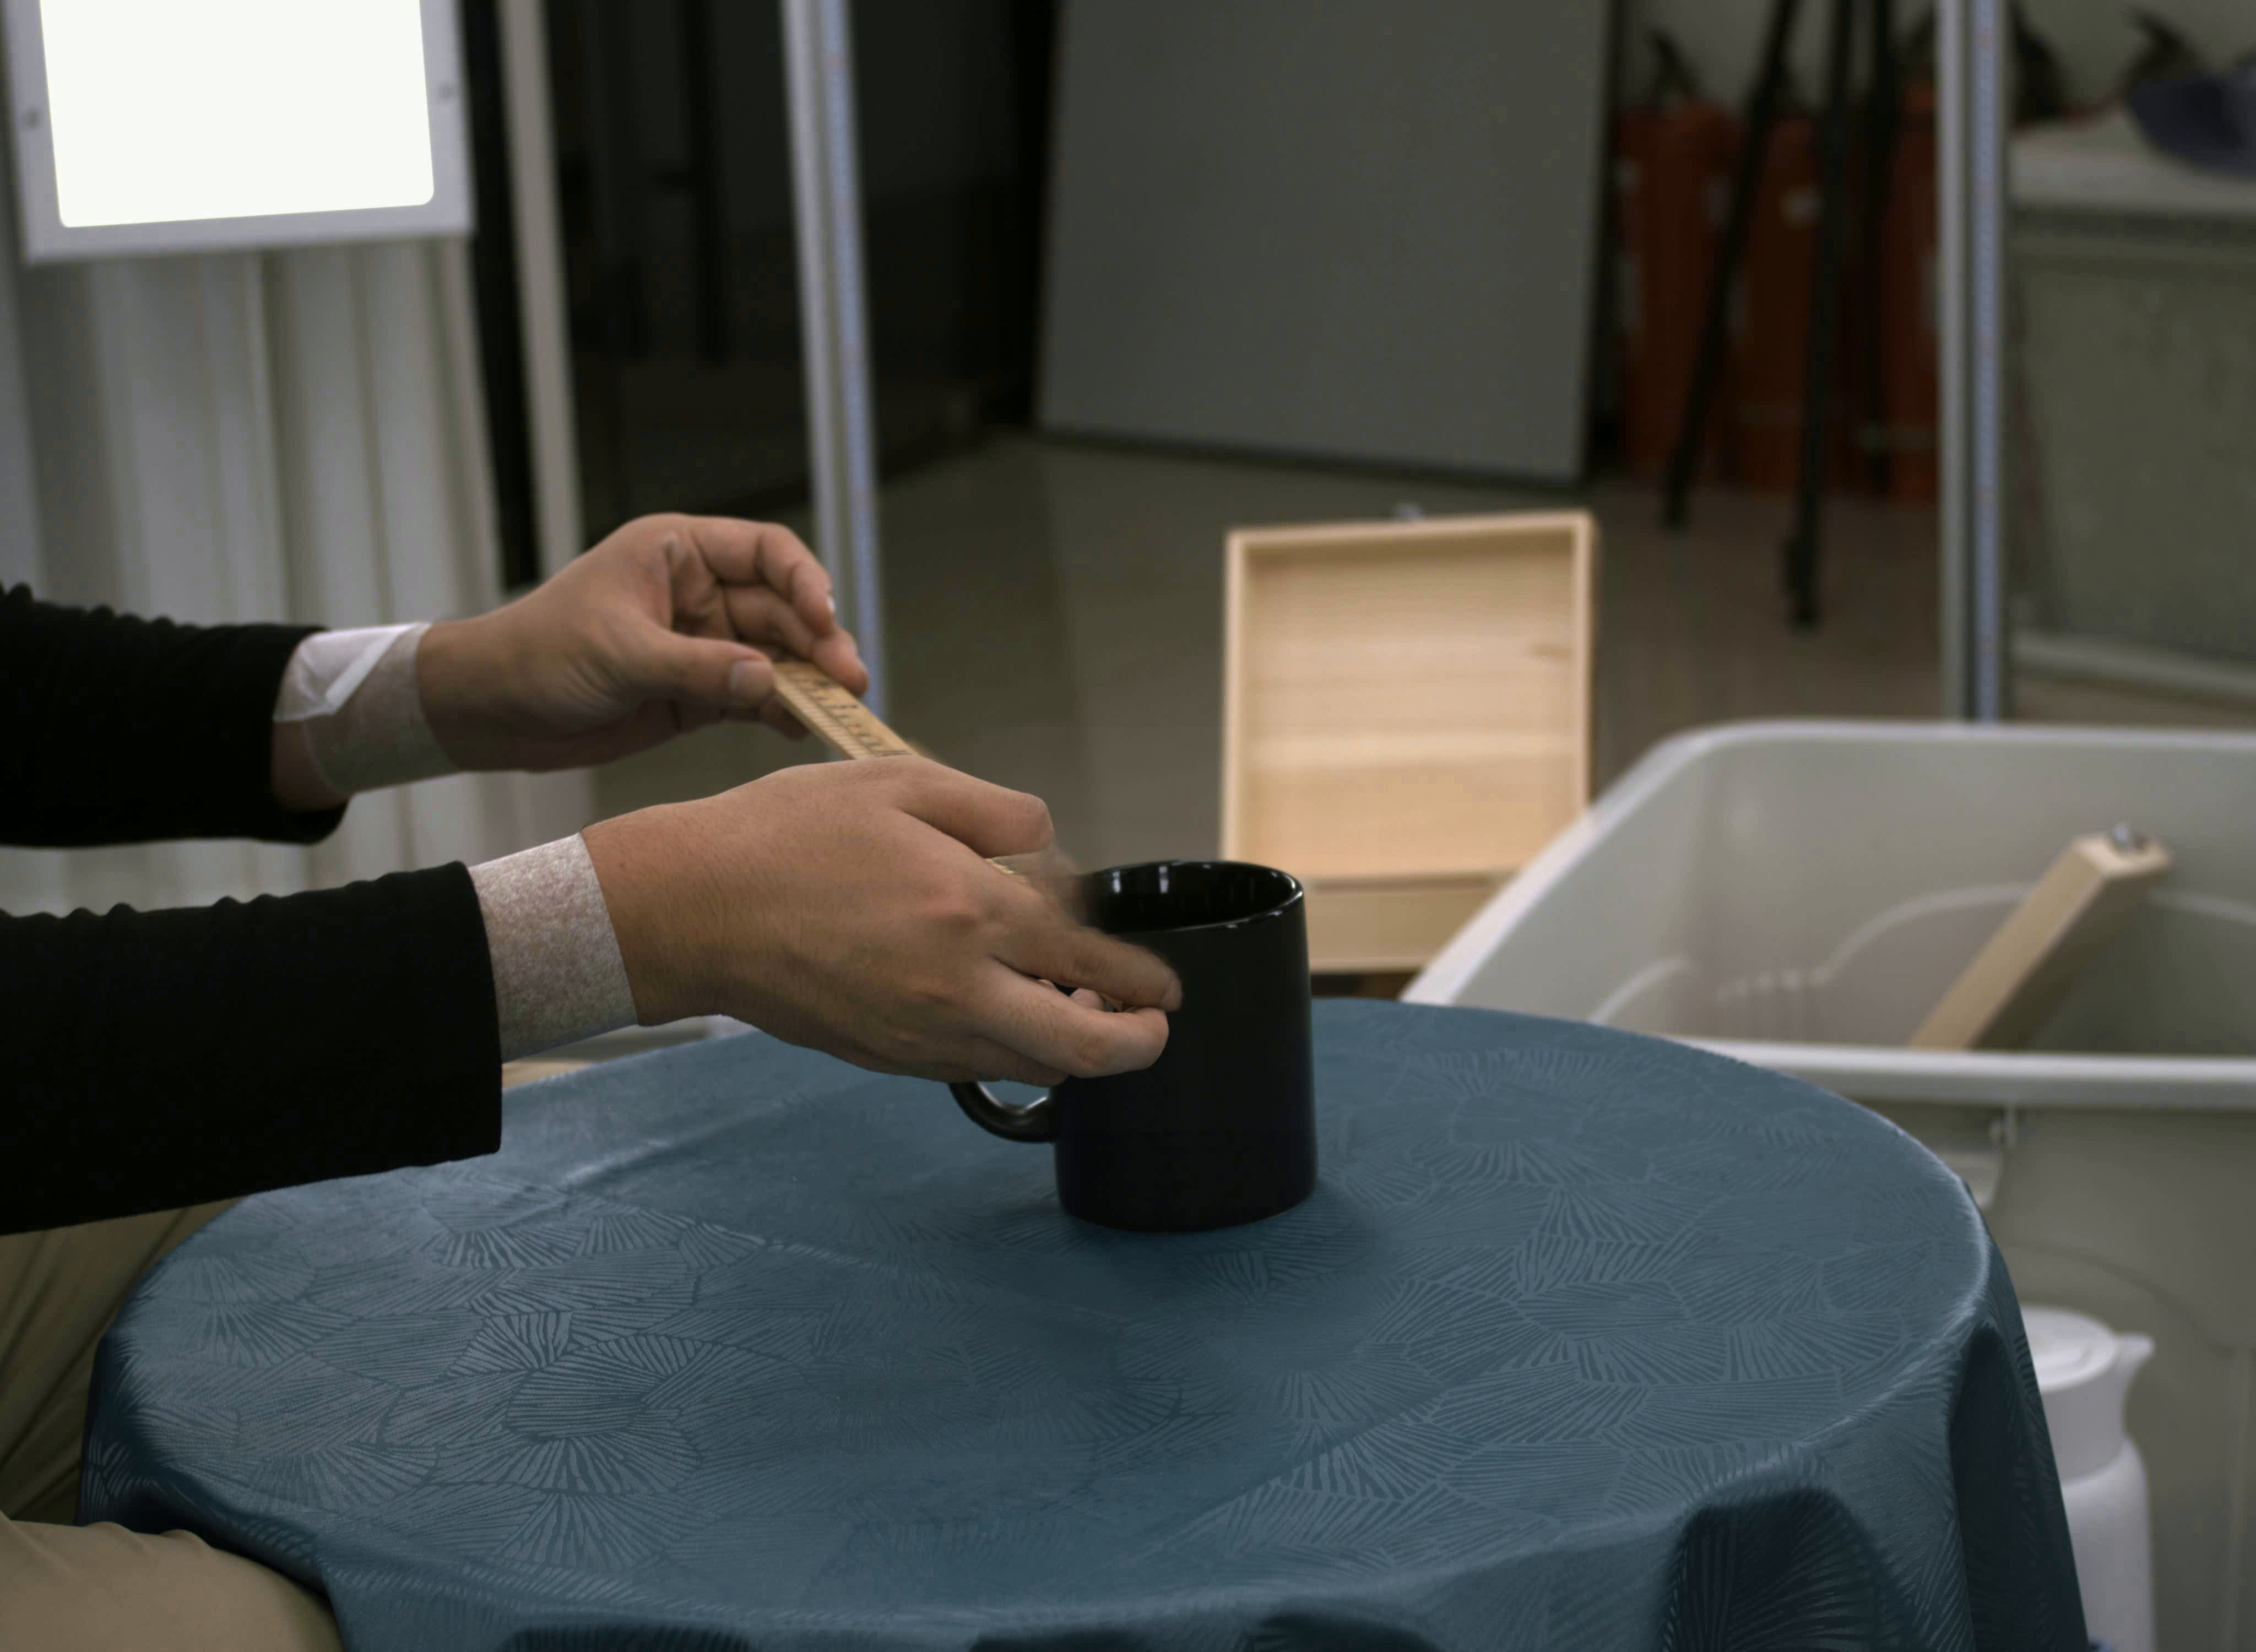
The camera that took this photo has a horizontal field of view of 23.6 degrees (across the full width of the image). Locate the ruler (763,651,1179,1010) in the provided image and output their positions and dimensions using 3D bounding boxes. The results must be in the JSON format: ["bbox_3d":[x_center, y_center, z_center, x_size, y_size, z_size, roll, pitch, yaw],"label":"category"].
[{"bbox_3d":[-0.056,-0.005,1.751,0.027,0.022,0.335,4,17,-24],"label":"ruler"}]

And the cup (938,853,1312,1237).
[{"bbox_3d":[-0.001,0.071,1.756,0.123,0.106,0.088,-1,16,10],"label":"cup"}]
